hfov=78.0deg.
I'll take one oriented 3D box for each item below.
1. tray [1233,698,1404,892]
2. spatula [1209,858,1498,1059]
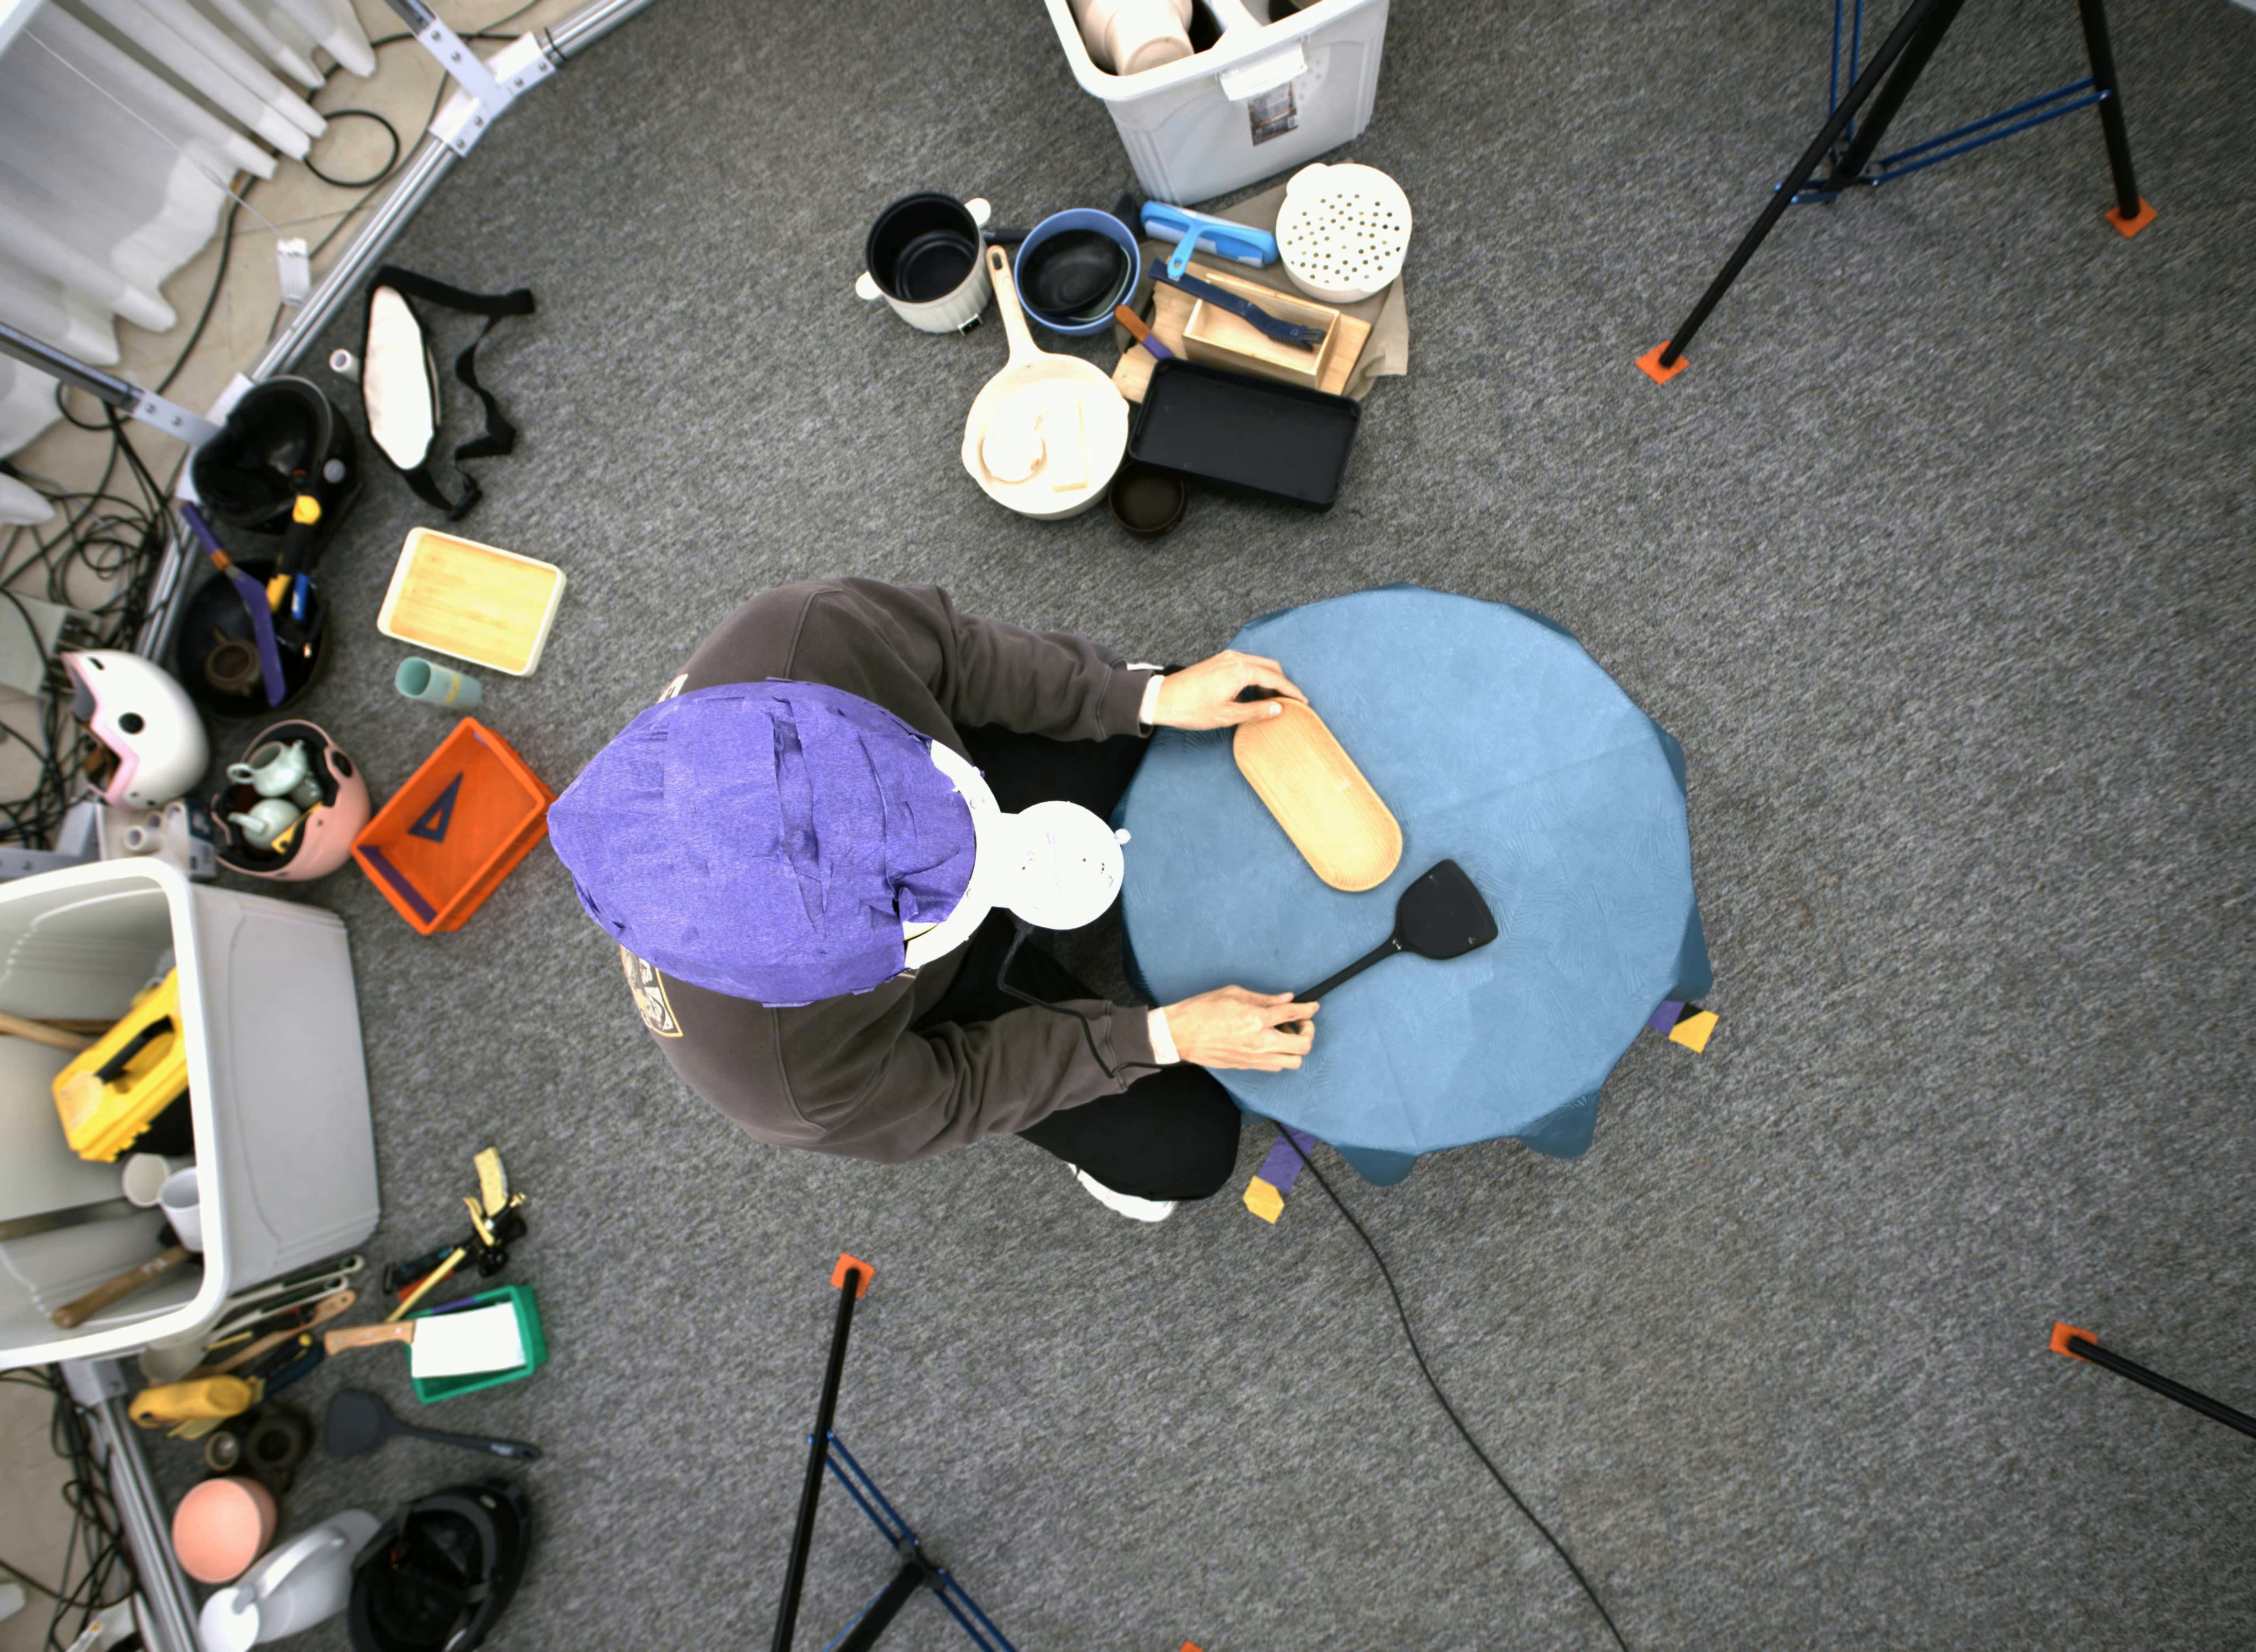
[{"bbox_3d":[0.200,-0.034,1.459,0.103,0.020,0.230,-38,85,15],"label":"tray"},{"bbox_3d":[0.223,0.154,1.439,0.327,0.040,0.099,-32,82,4],"label":"spatula"}]
